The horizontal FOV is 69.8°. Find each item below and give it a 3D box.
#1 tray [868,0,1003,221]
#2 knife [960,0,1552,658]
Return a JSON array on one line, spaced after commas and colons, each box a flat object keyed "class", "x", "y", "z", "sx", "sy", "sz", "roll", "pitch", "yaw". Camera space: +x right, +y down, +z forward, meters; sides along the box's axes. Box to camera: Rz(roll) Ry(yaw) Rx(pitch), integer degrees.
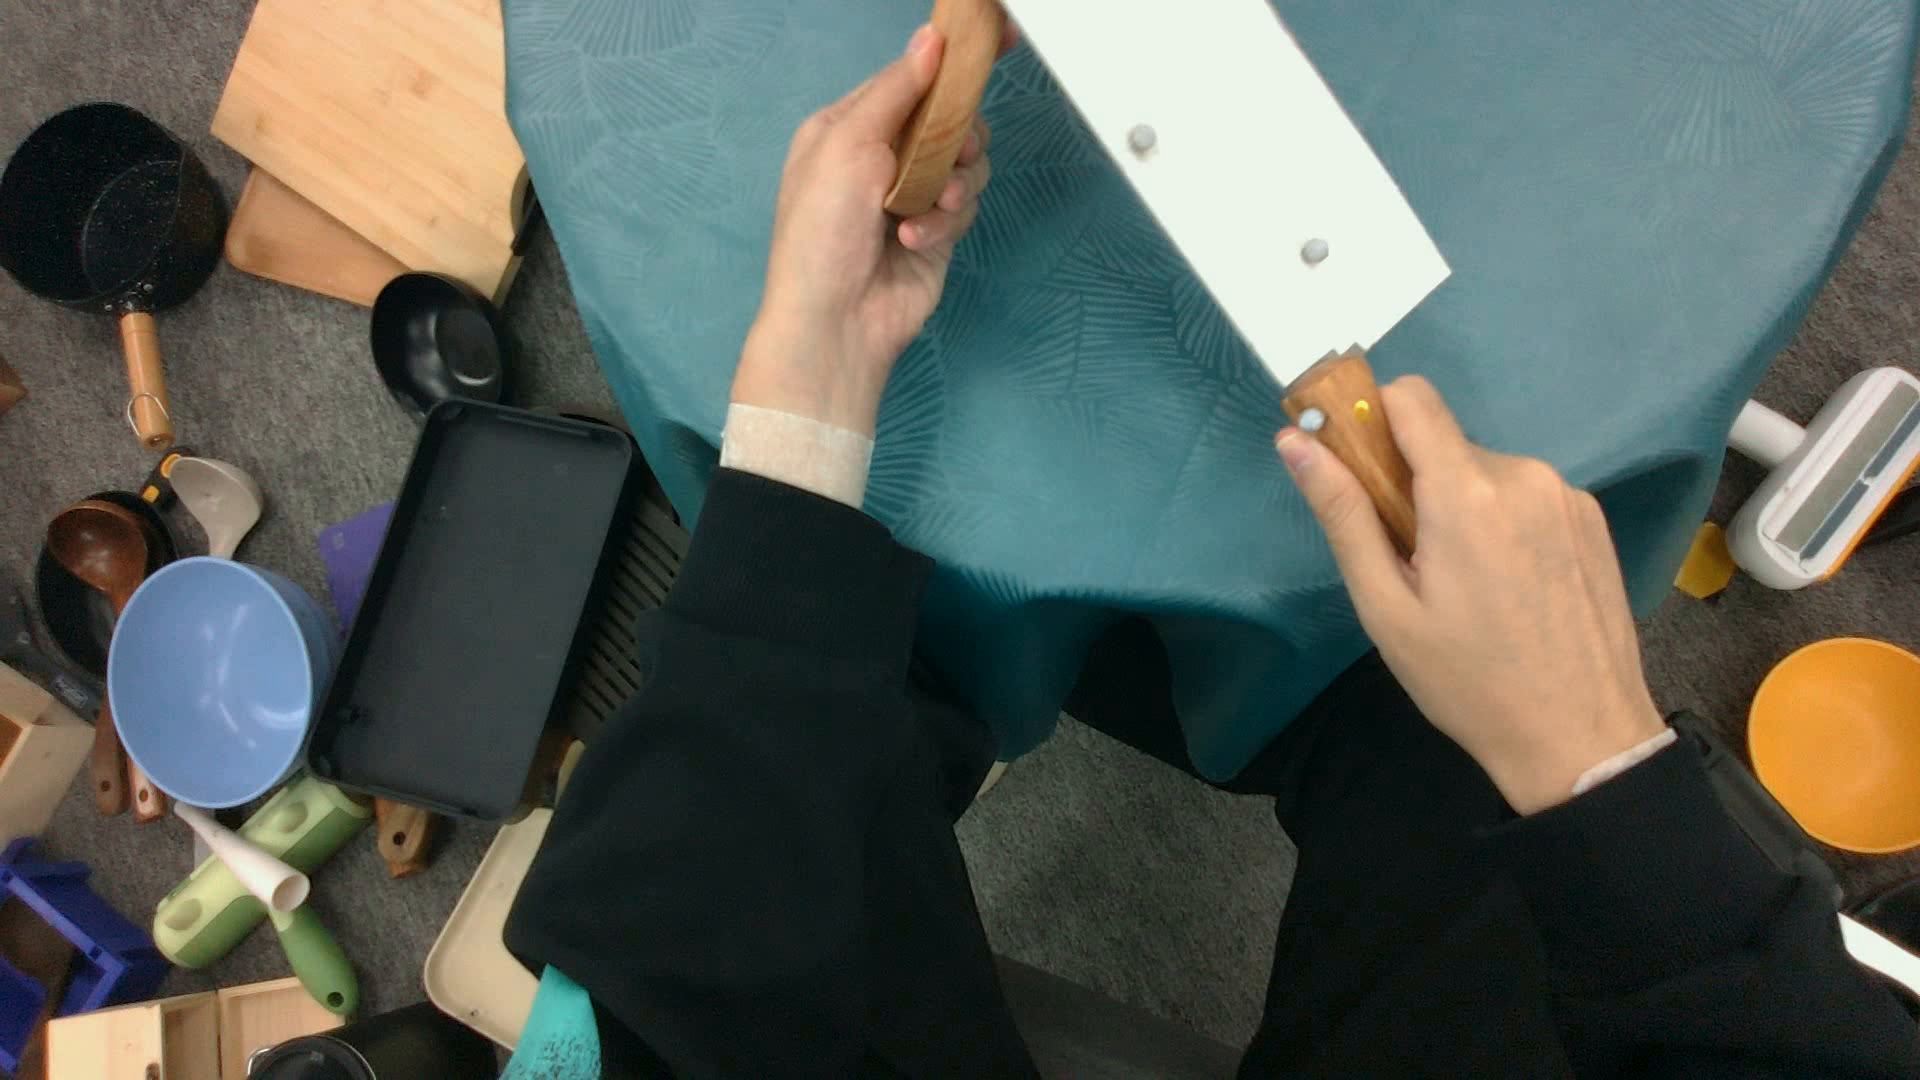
[{"class": "tray", "x": 0.008, "y": -0.223, "z": 0.509, "sx": 0.020, "sy": 0.101, "sz": 0.232, "roll": 18, "pitch": 75, "yaw": -13}, {"class": "knife", "x": 0.112, "y": -0.098, "z": 0.469, "sx": 0.093, "sy": 0.021, "sz": 0.305, "roll": -42, "pitch": 96, "yaw": -25}]
